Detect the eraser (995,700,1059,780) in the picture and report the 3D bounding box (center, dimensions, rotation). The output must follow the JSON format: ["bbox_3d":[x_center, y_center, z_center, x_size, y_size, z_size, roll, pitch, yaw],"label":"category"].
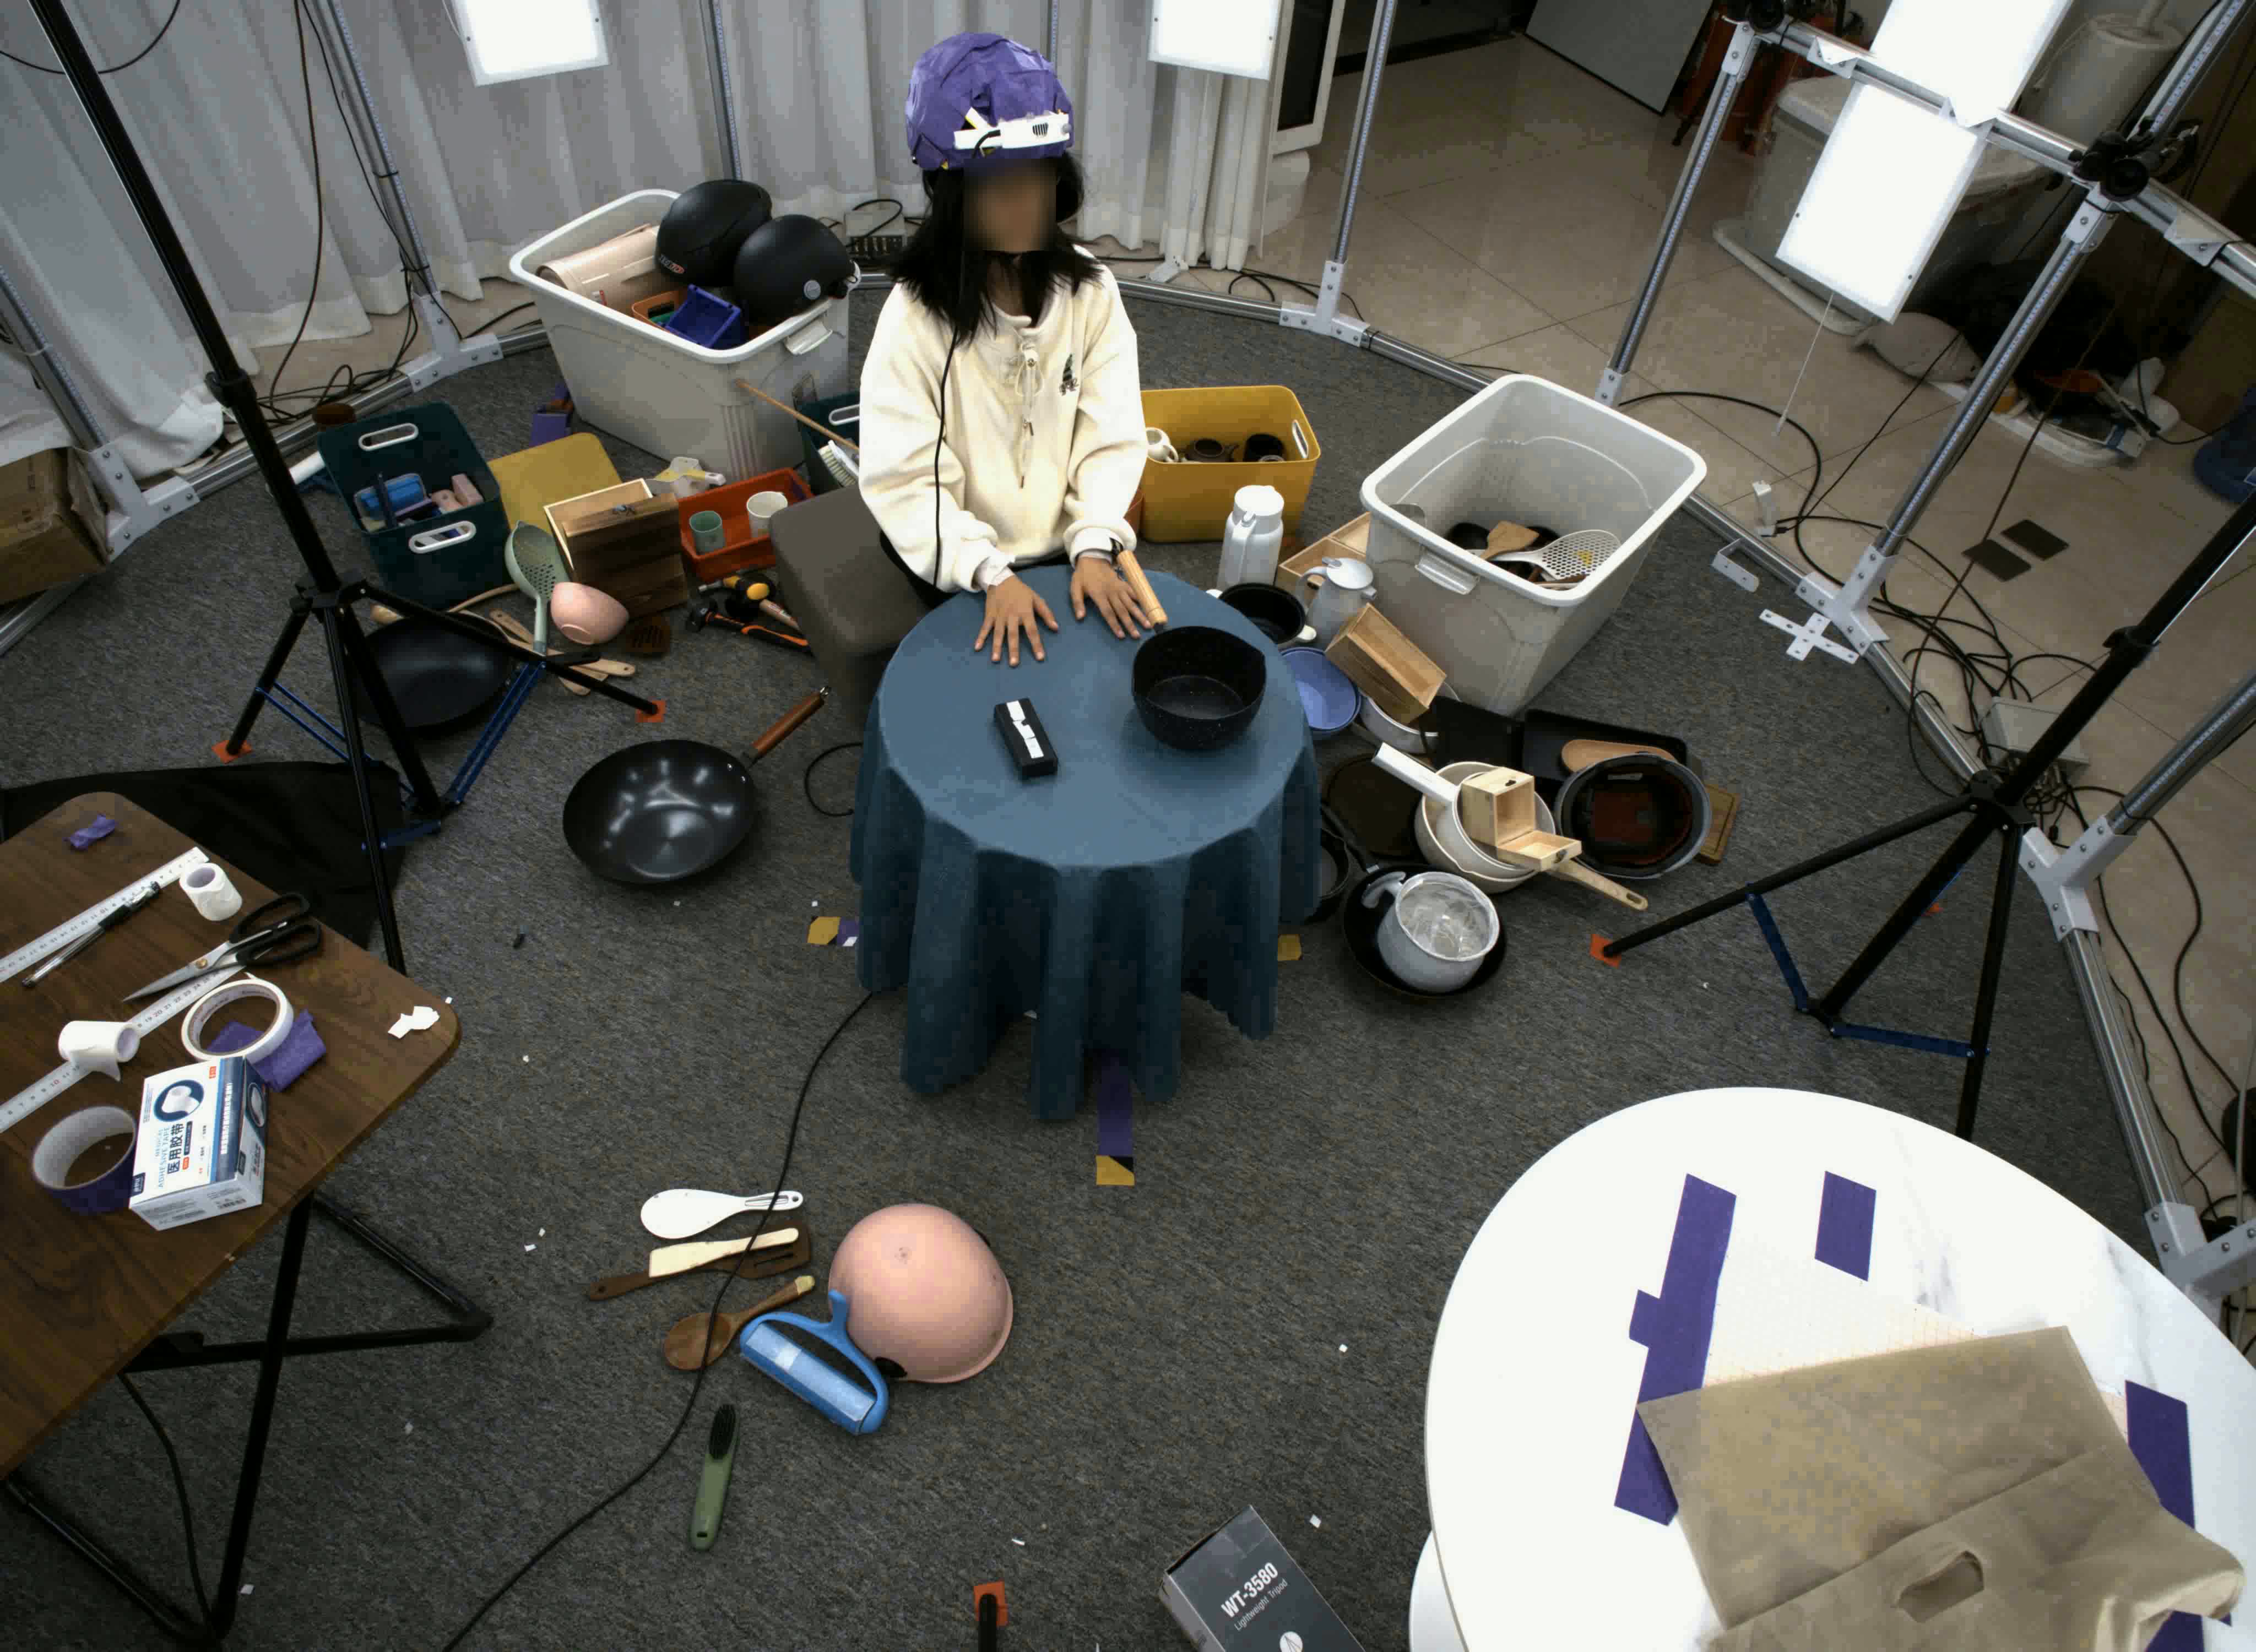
[{"bbox_3d":[-0.137,-0.118,1.746,0.053,0.030,0.128,-13,50,-15],"label":"eraser"}]

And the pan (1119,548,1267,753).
[{"bbox_3d":[0.062,-0.250,1.821,0.208,0.105,0.350,-19,54,-18],"label":"pan"}]
